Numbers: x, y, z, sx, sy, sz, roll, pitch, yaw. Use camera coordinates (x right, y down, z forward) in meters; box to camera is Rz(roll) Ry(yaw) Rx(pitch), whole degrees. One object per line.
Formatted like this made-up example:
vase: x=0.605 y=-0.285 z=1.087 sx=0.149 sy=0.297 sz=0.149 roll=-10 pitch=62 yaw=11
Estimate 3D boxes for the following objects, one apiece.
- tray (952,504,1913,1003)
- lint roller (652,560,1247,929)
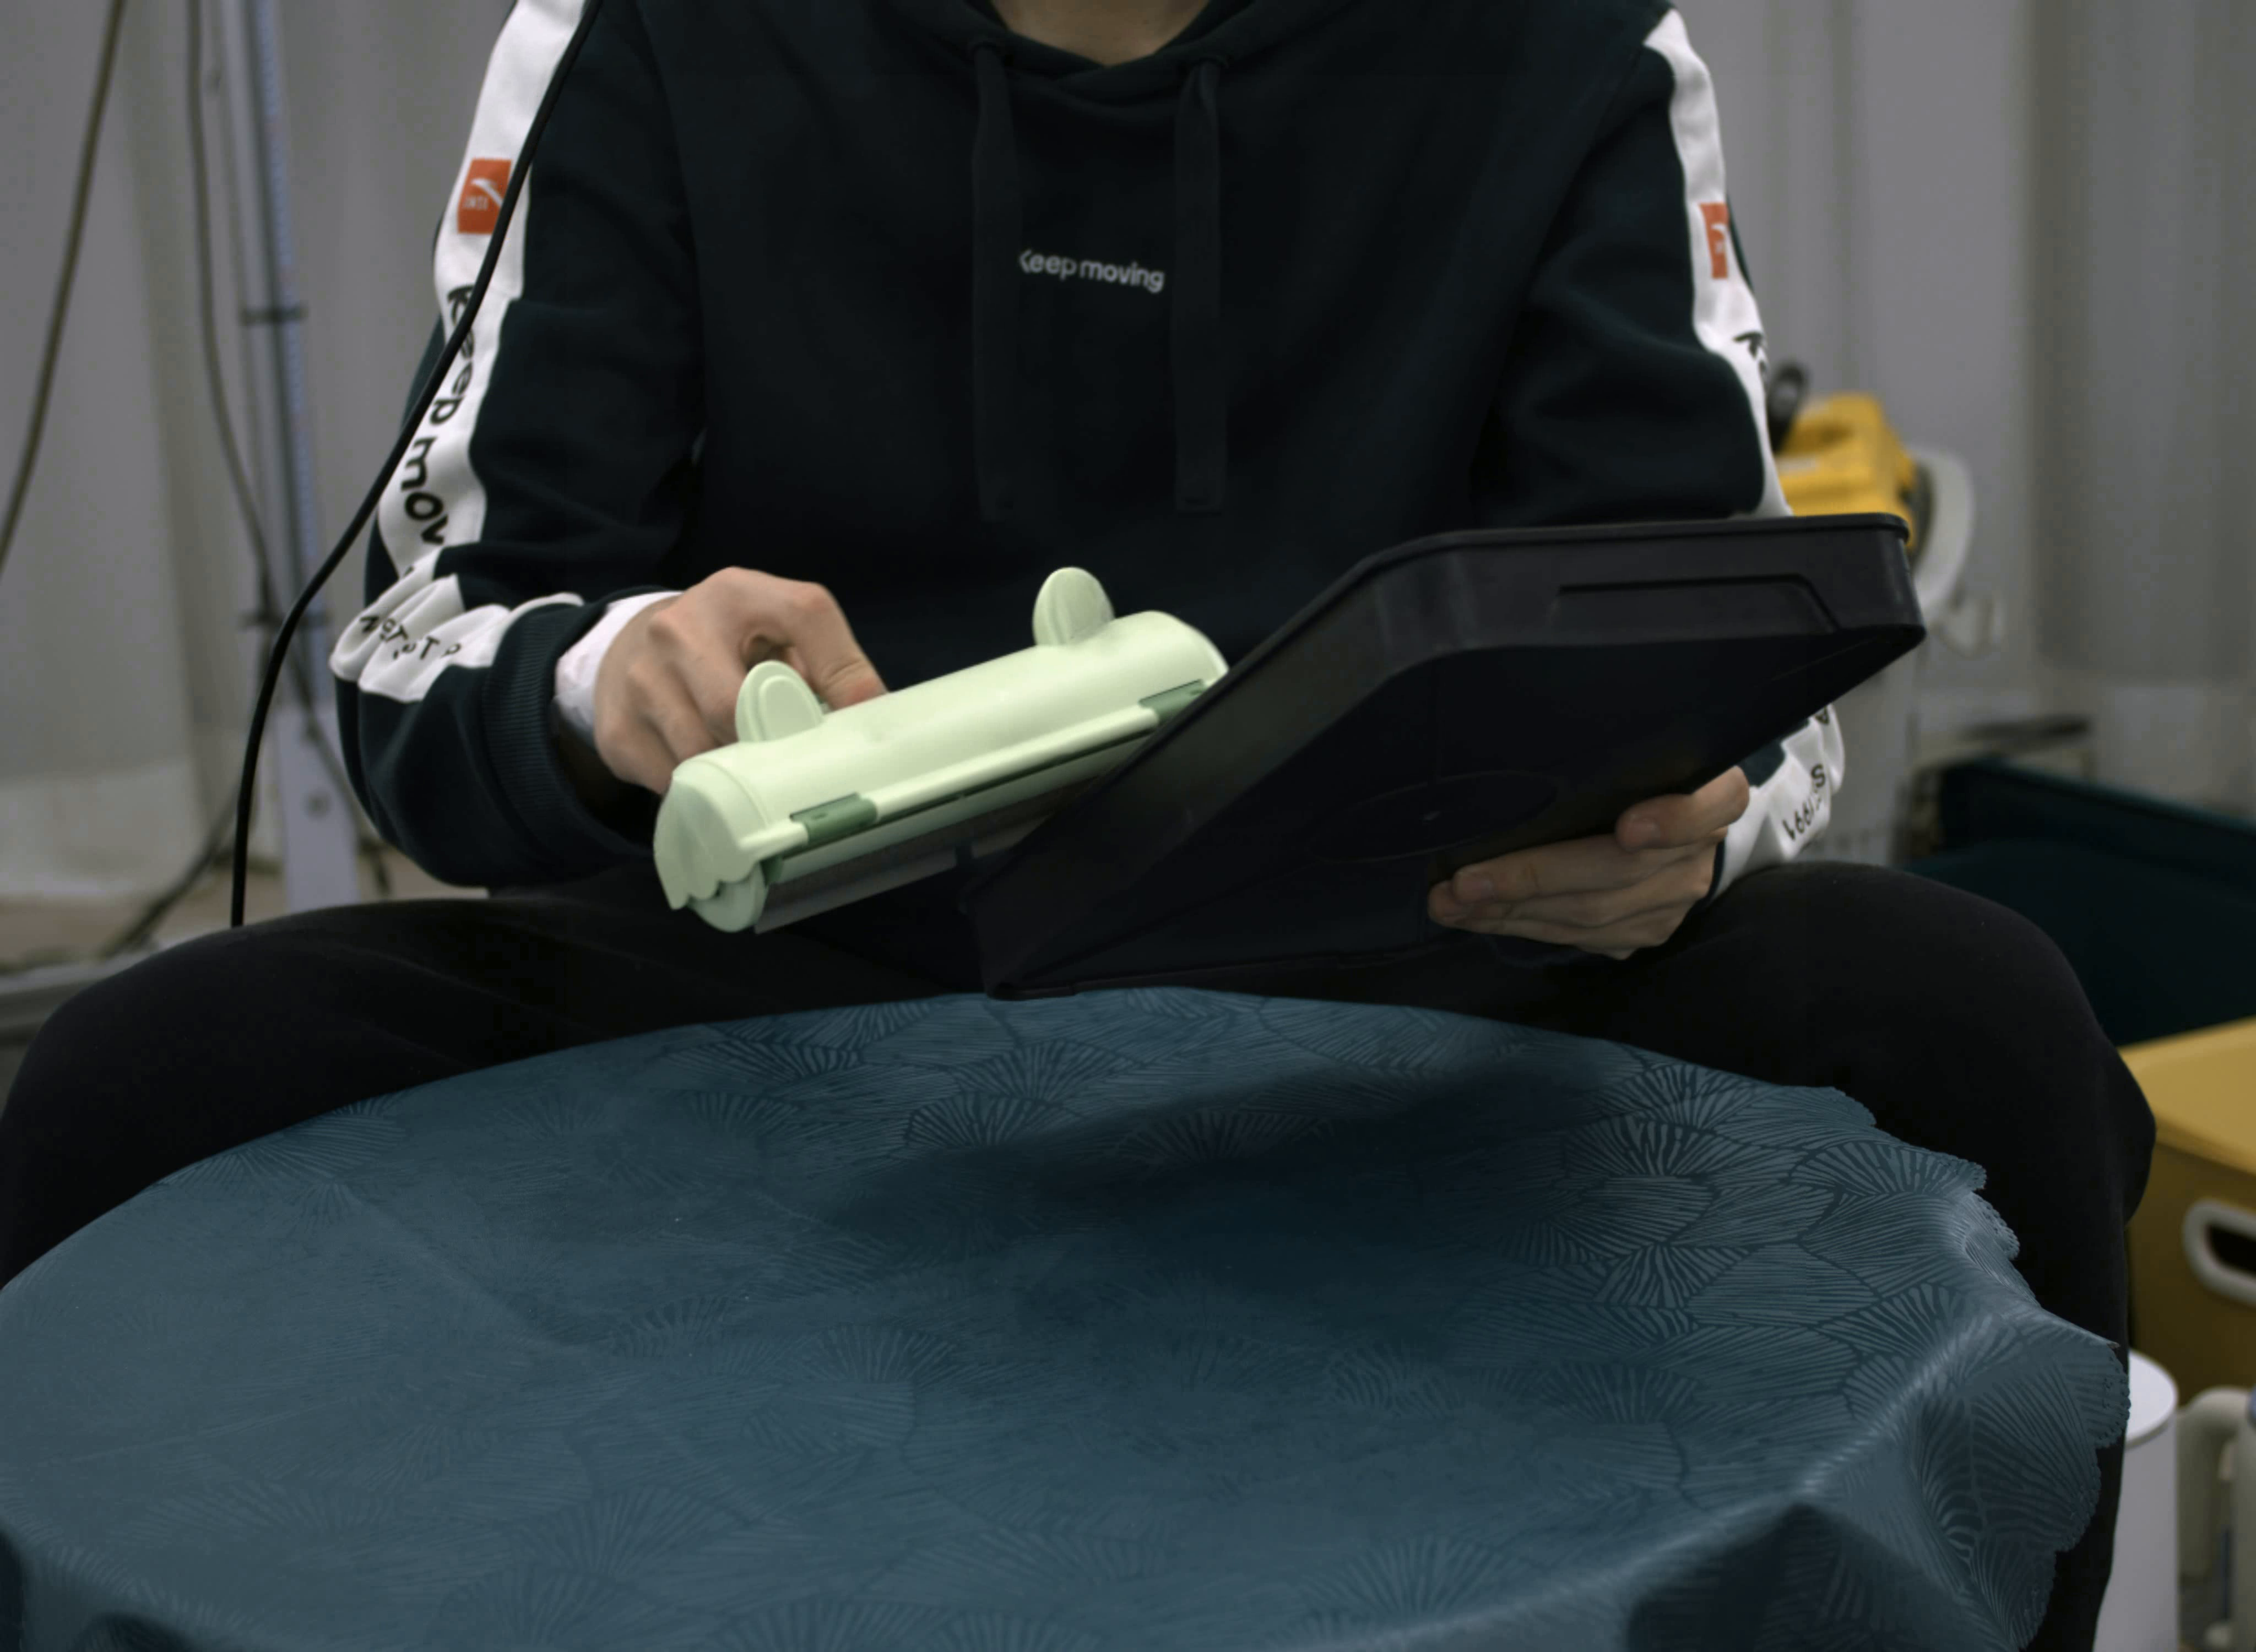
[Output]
tray: x=0.086 y=-0.017 z=1.657 sx=0.183 sy=0.037 sz=0.316 roll=-5 pitch=-18 yaw=-28
lint roller: x=-0.089 y=-0.039 z=1.718 sx=0.198 sy=0.081 sz=0.185 roll=-19 pitch=25 yaw=-35
